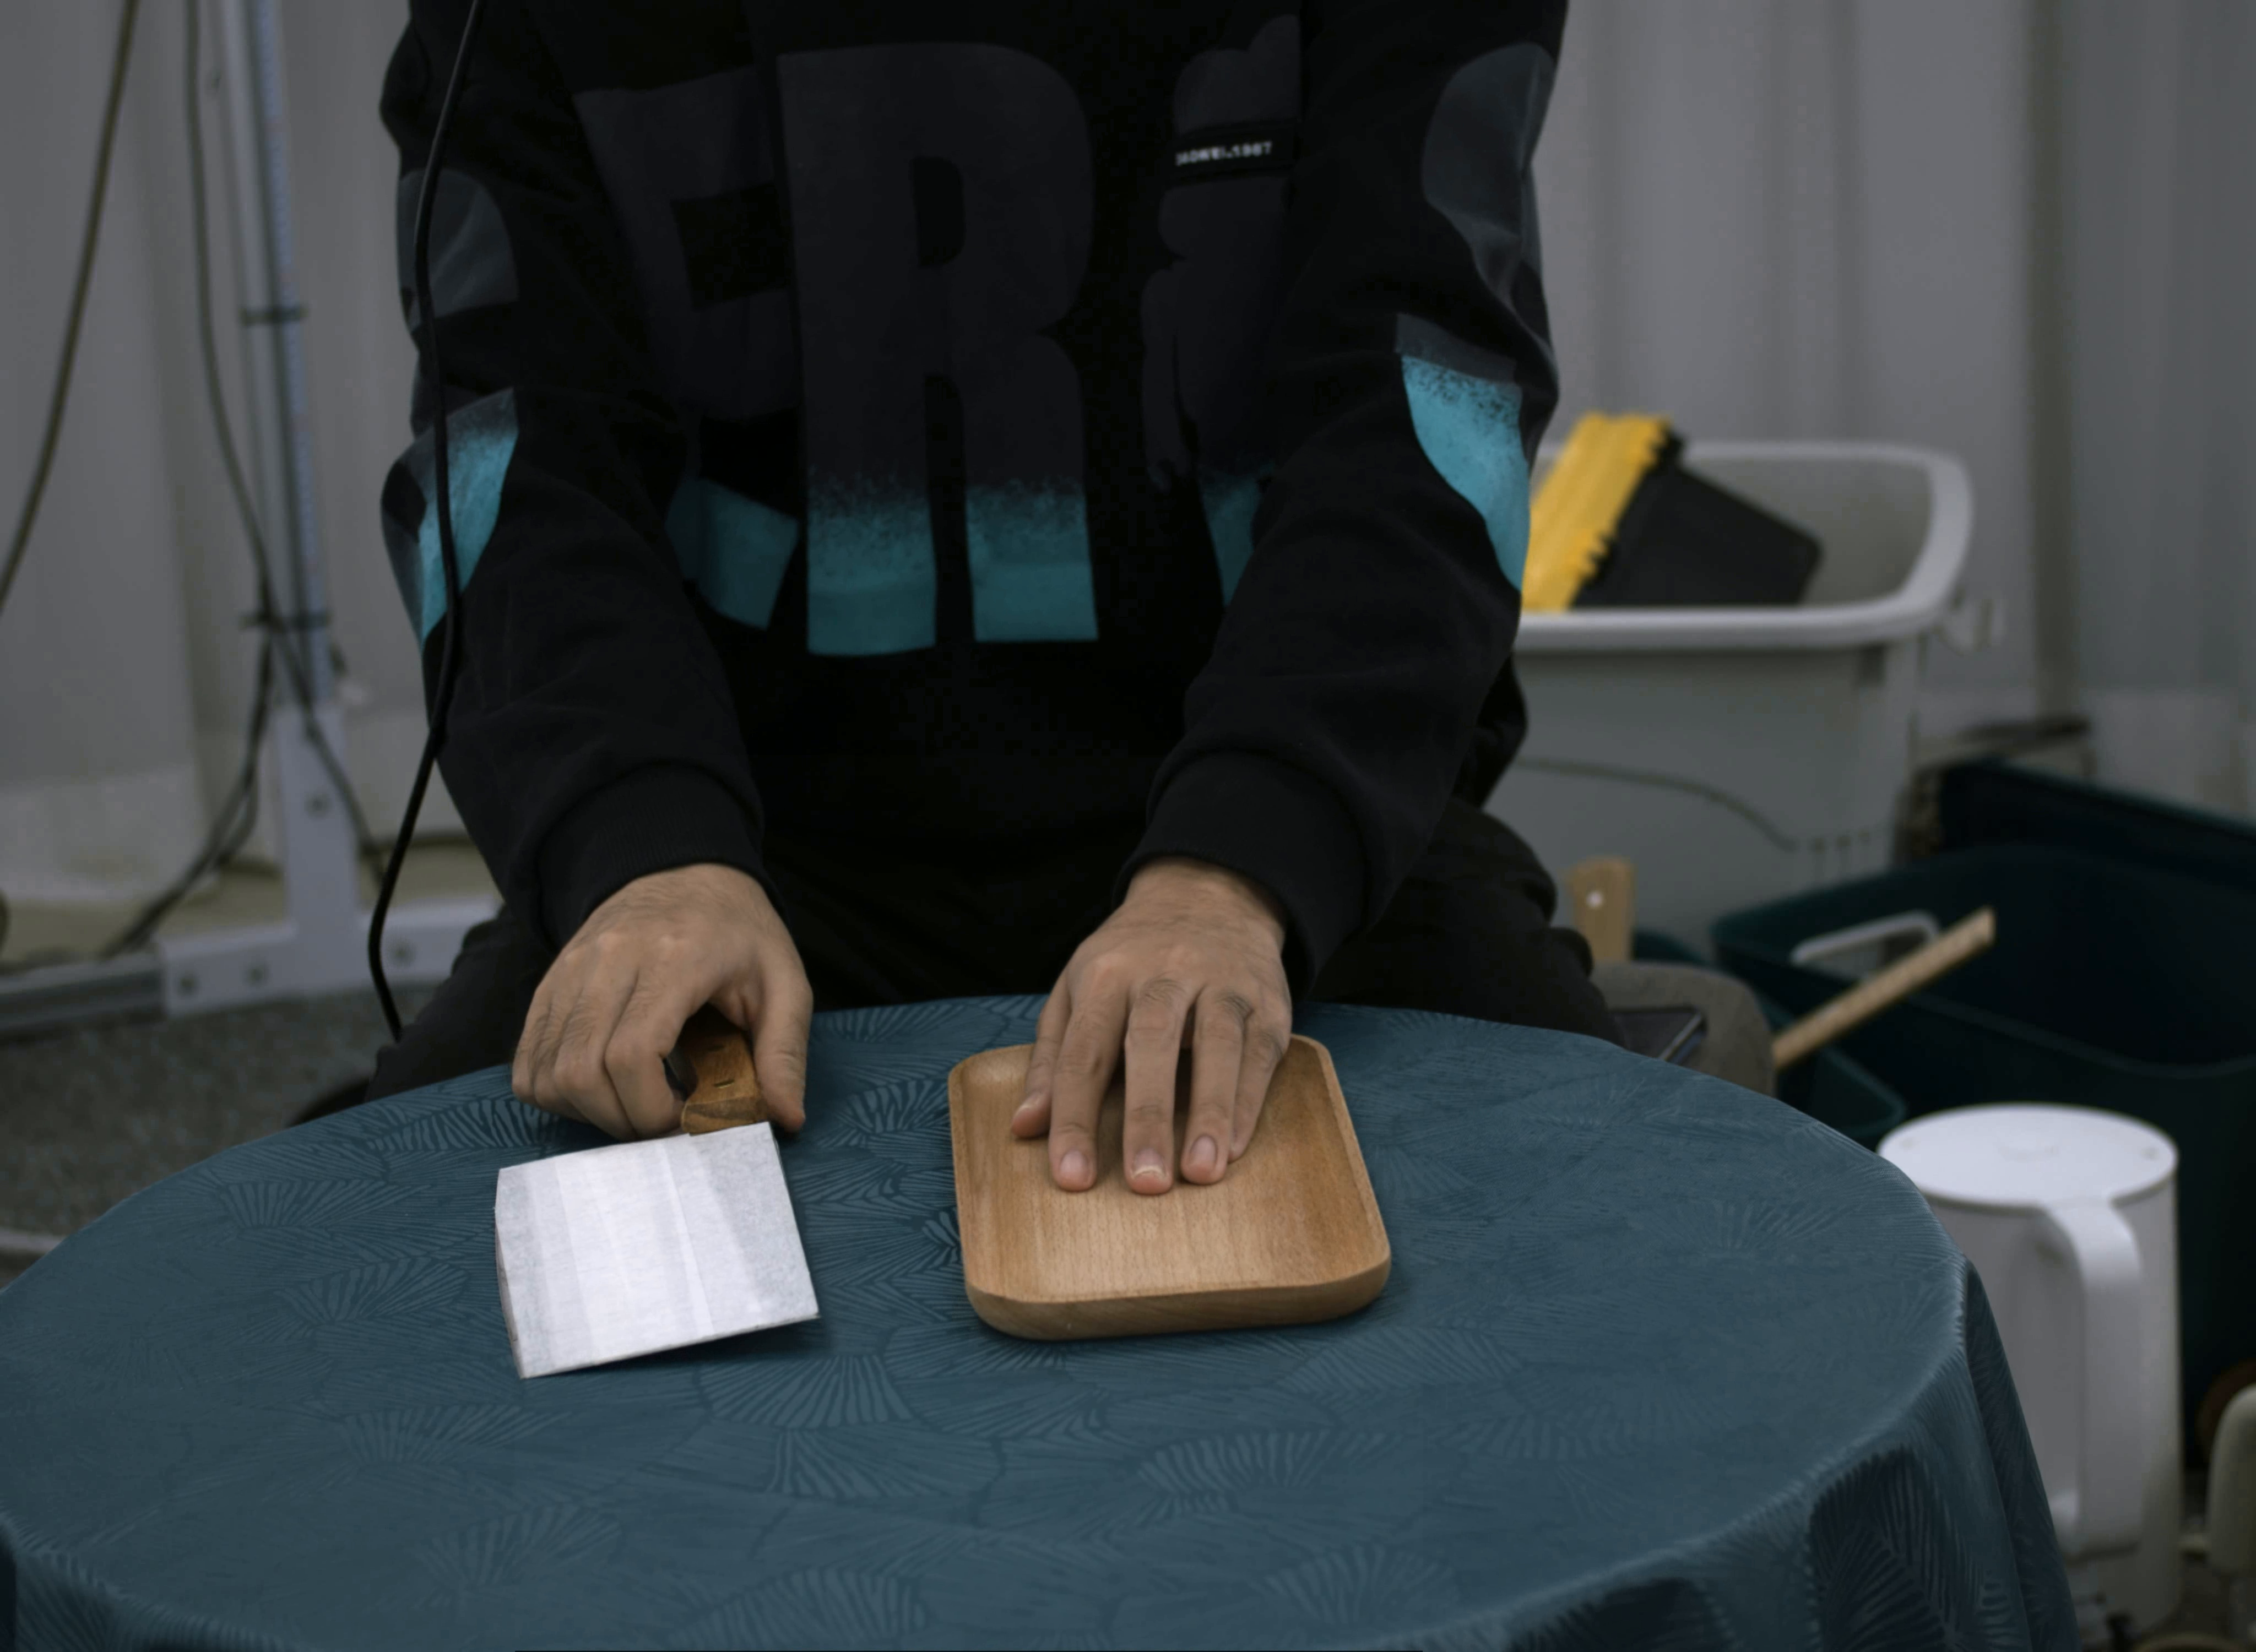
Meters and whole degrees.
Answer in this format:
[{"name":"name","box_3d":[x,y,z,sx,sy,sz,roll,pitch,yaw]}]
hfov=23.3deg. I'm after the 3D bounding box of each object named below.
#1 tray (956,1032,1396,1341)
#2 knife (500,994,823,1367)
[{"name":"tray","box_3d":[0.011,0.110,1.702,0.130,0.023,0.252,-1,14,-1]},{"name":"knife","box_3d":[-0.152,0.112,1.730,0.092,0.021,0.308,-12,16,-5]}]
